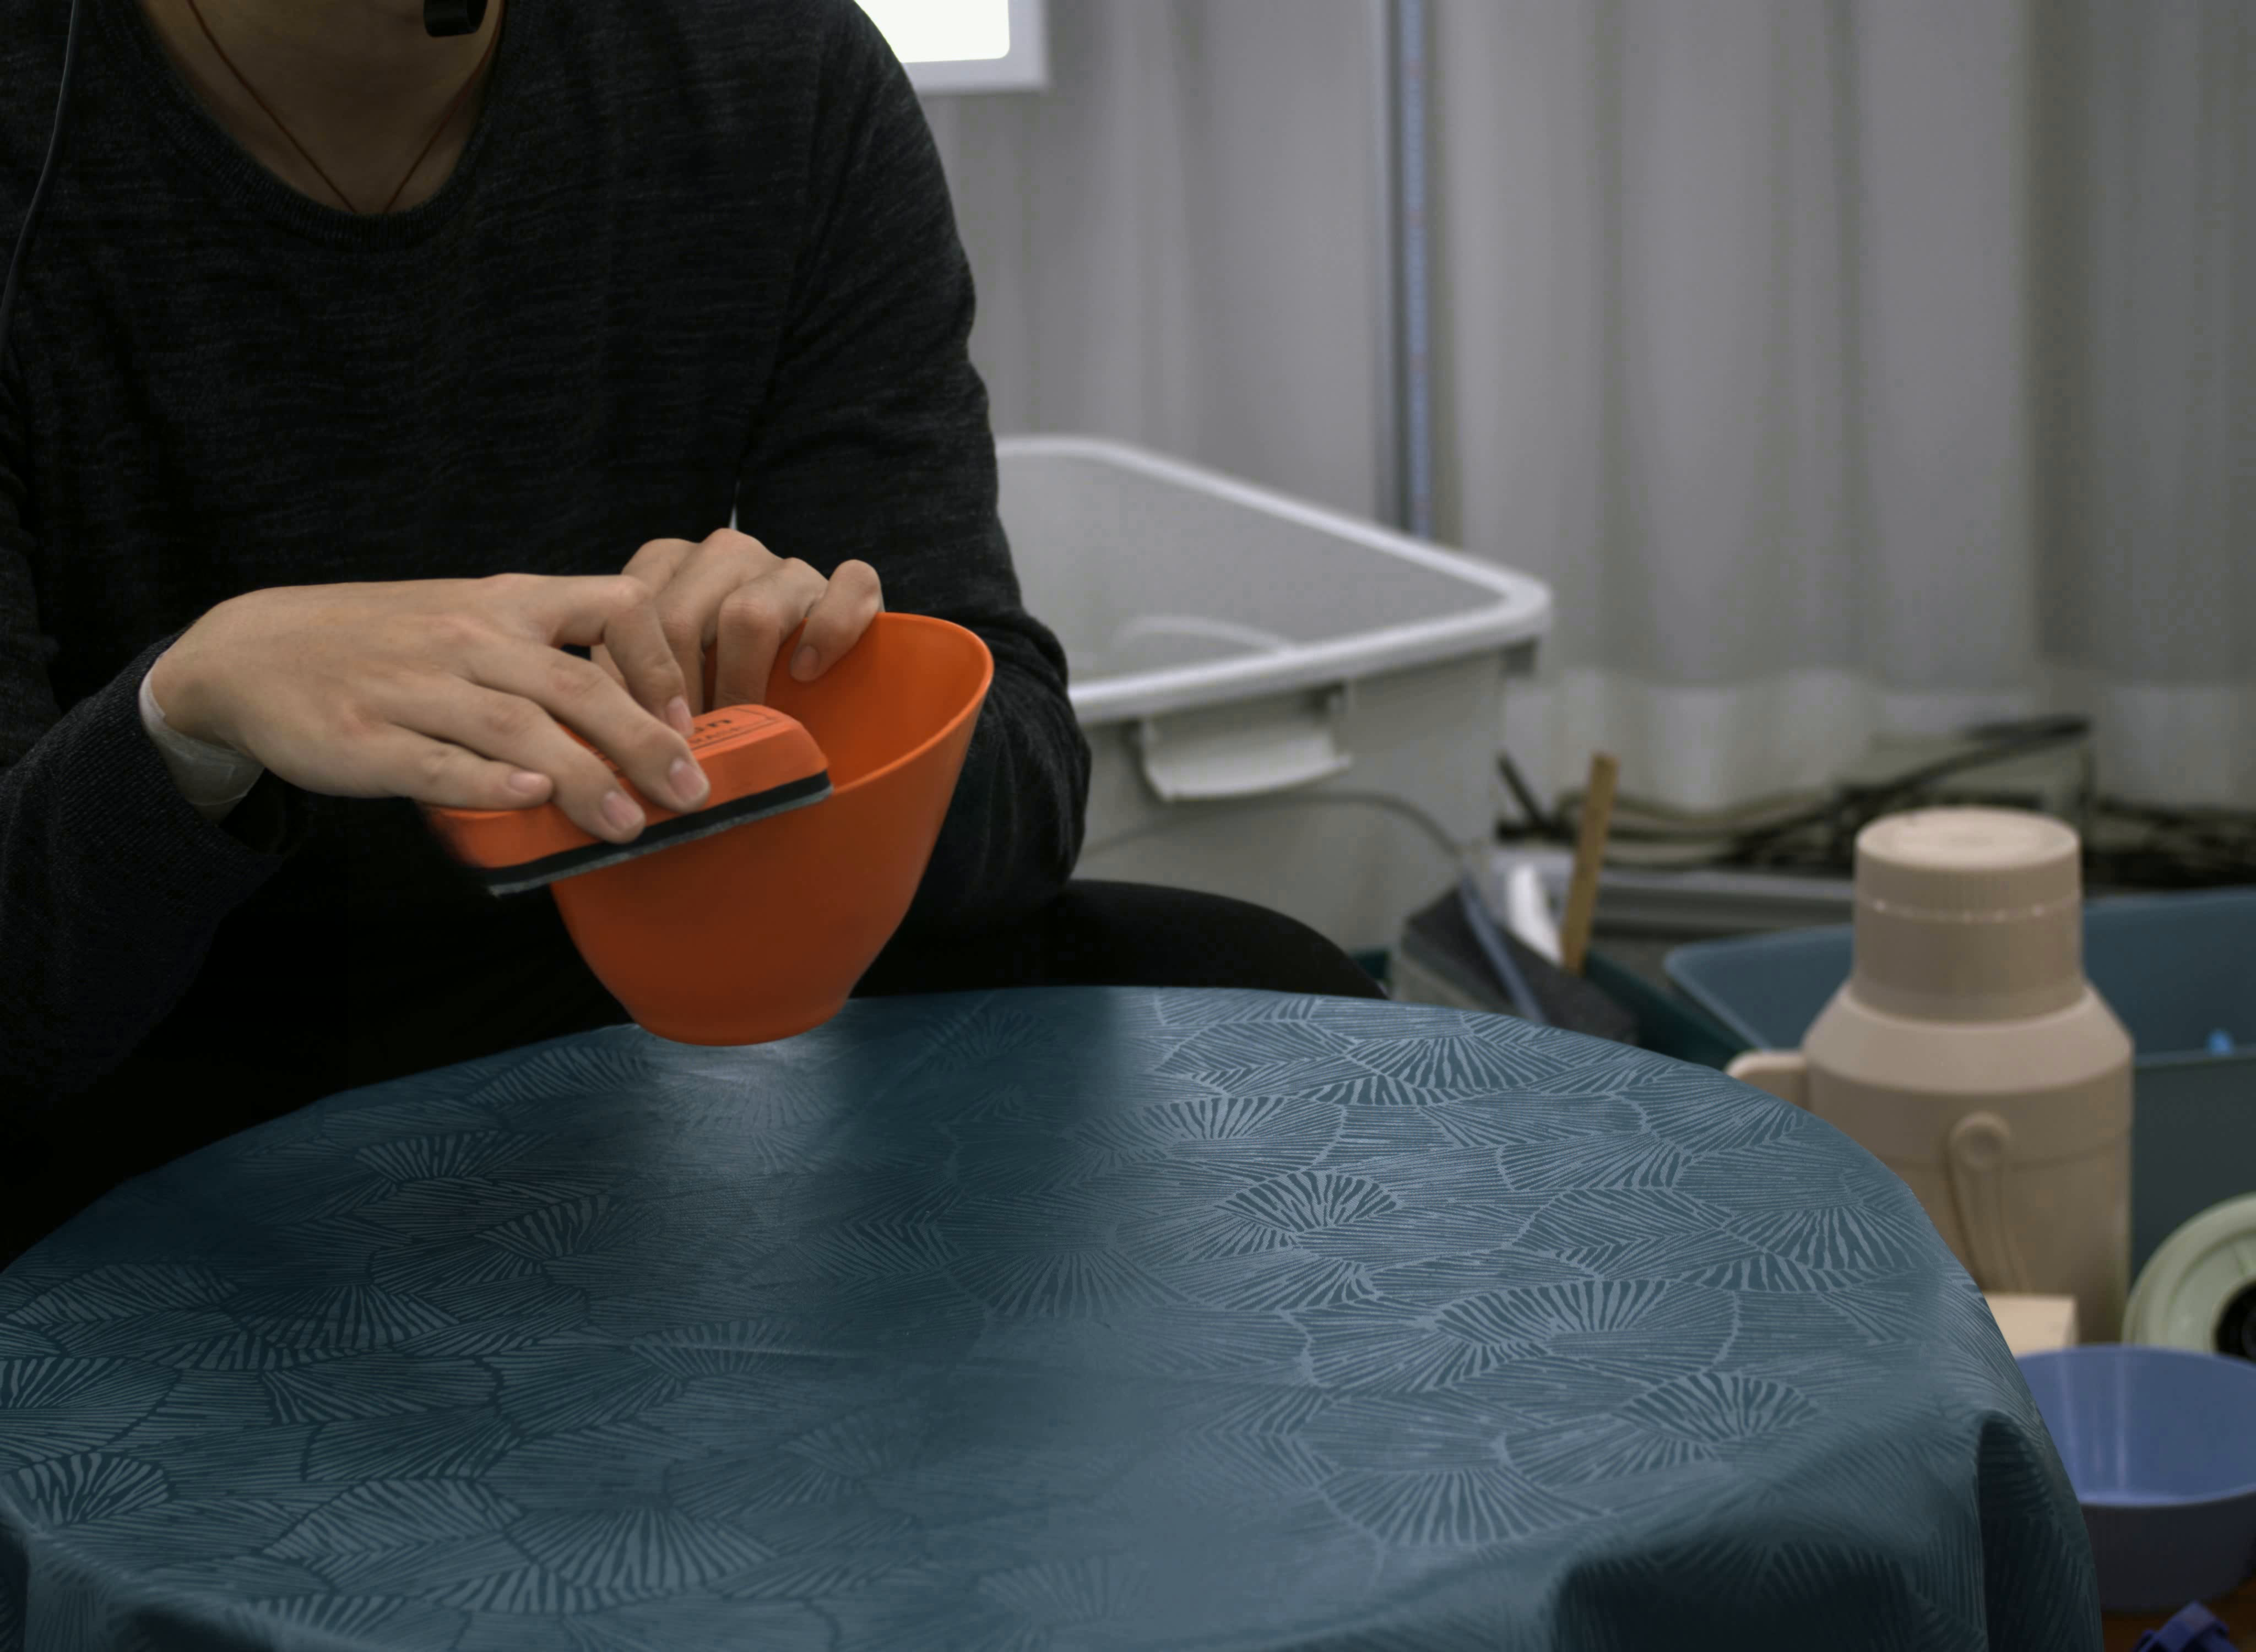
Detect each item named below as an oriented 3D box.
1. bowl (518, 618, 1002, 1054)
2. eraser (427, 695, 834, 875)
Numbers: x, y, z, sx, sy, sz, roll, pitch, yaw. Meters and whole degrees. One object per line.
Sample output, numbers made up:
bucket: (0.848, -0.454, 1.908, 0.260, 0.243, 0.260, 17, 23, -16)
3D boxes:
bowl: (-0.108, 0.007, 1.646, 0.147, 0.104, 0.149, -3, 22, 1)
eraser: (-0.142, -0.012, 1.560, 0.108, 0.023, 0.059, -16, 15, -28)
